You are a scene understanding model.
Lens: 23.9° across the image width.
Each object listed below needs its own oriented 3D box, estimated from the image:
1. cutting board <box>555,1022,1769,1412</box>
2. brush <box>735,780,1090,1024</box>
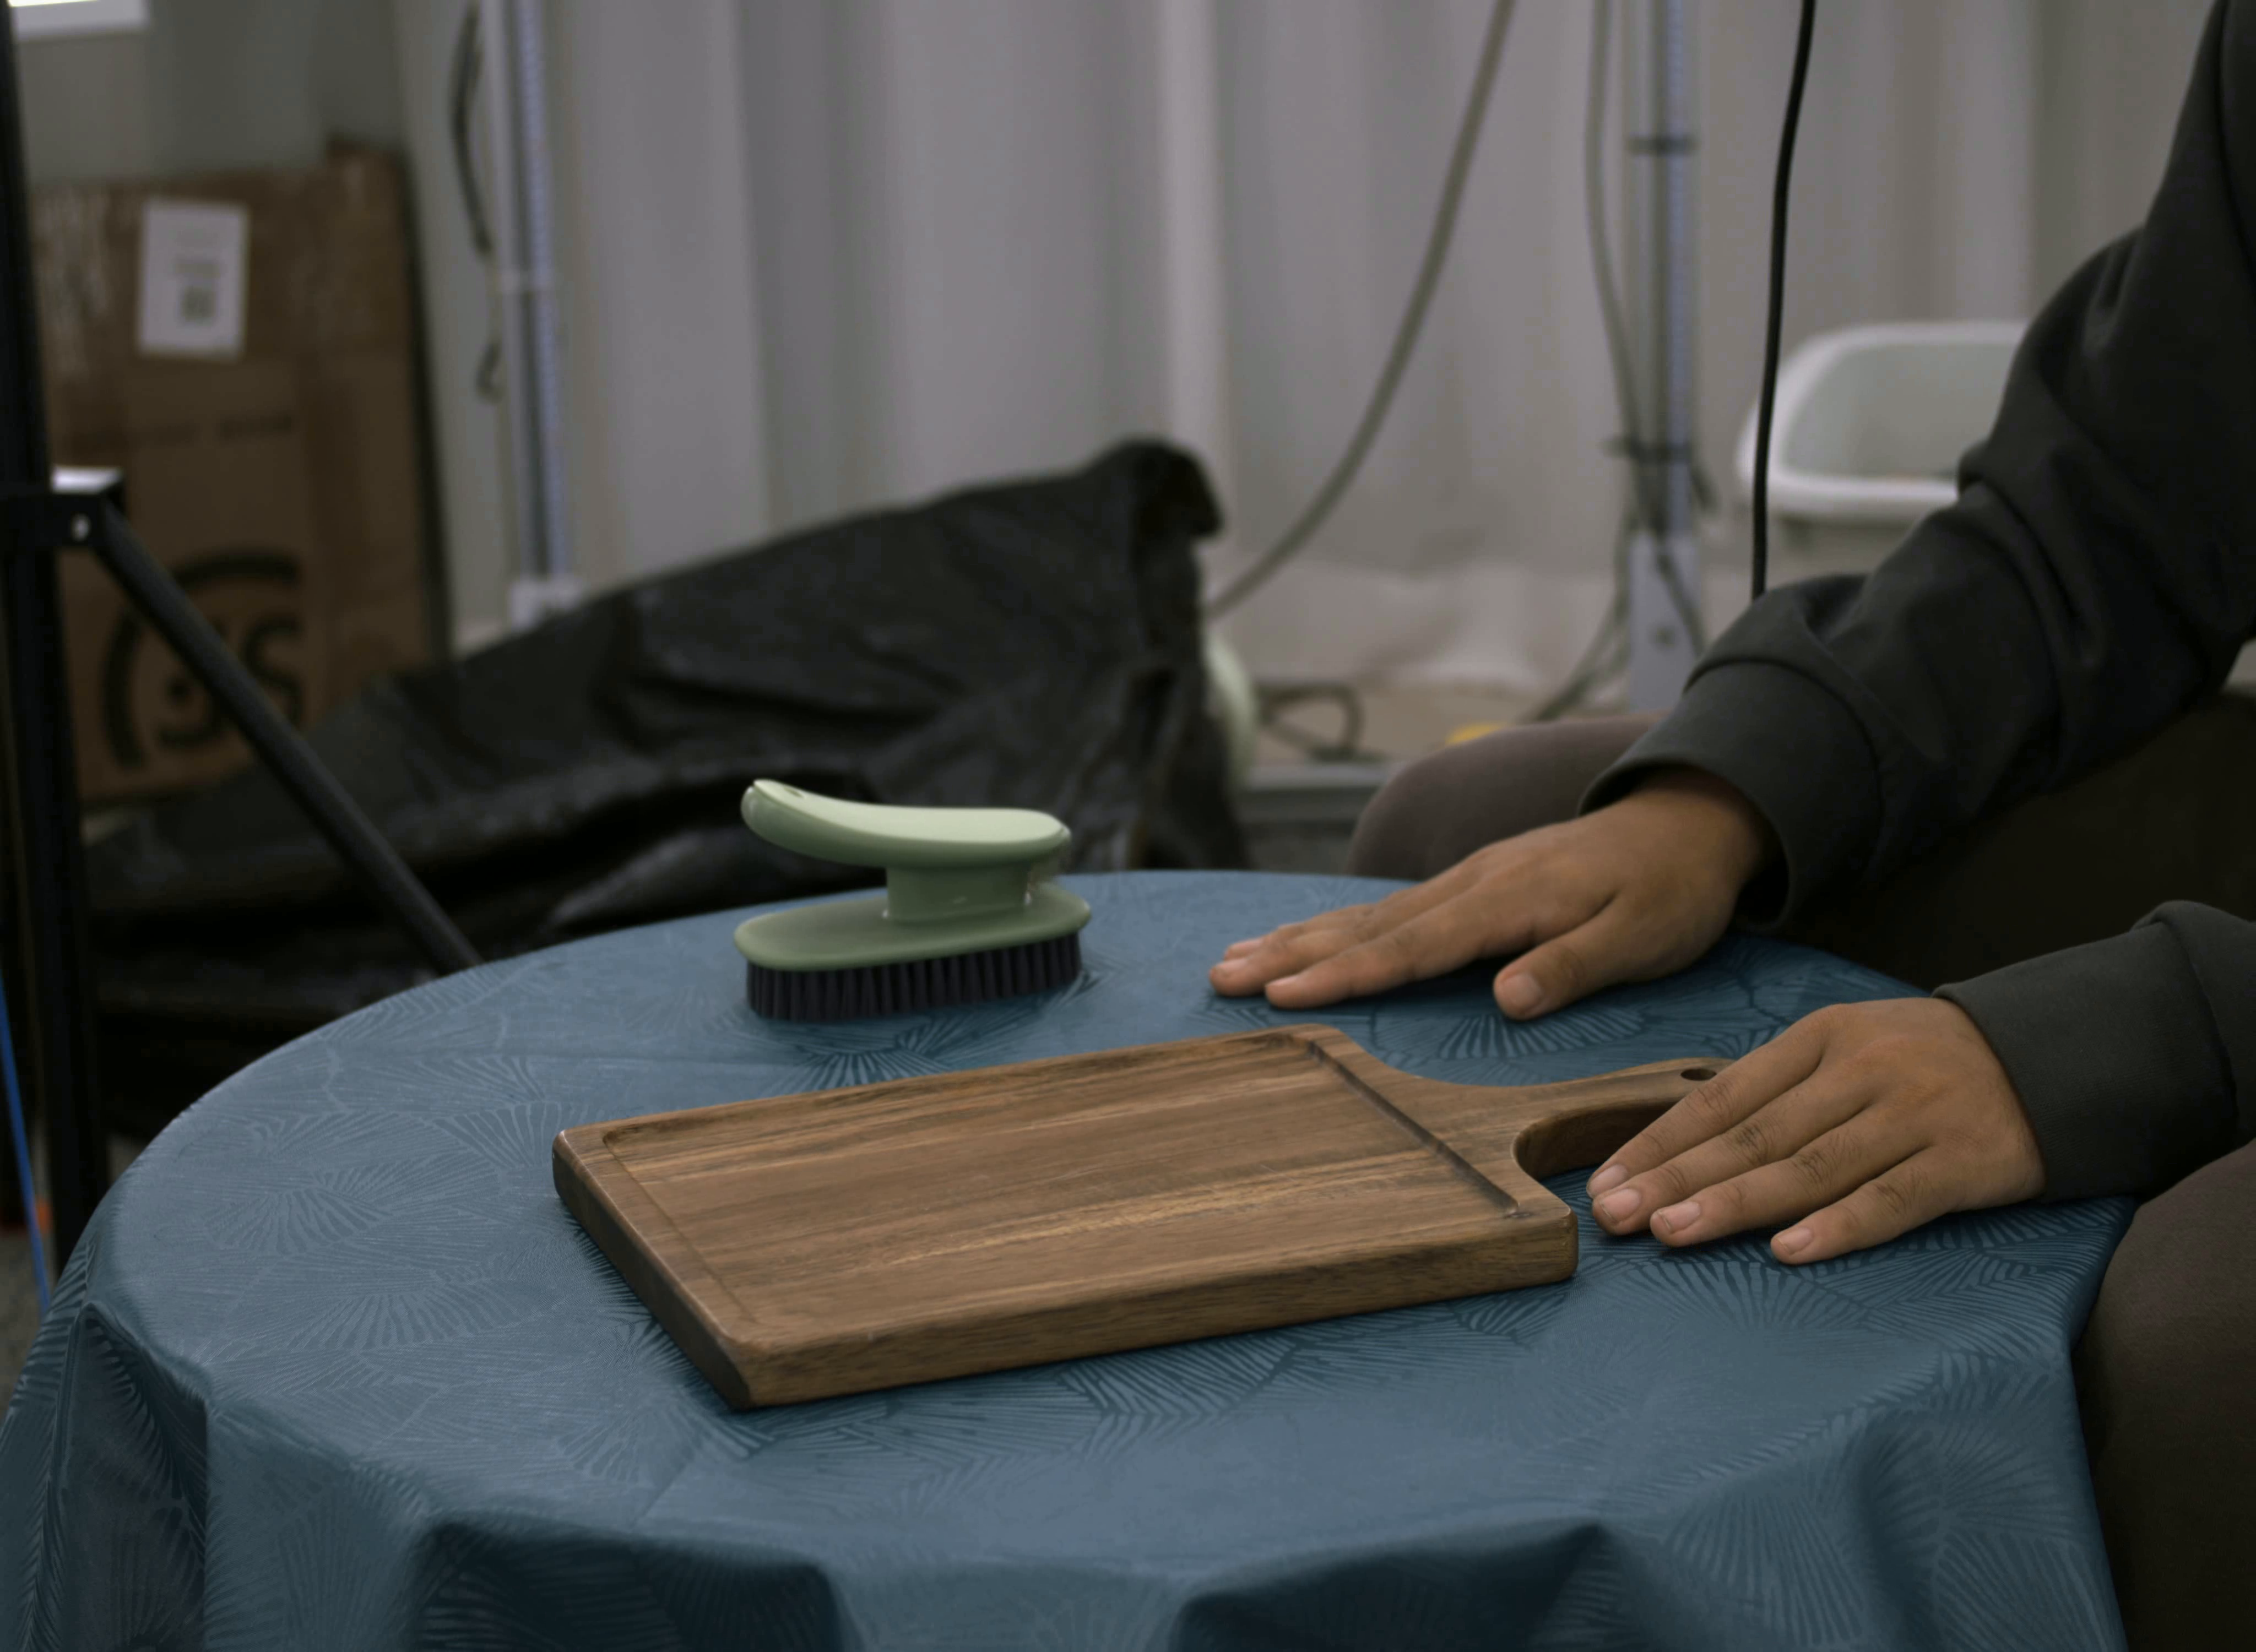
[{"bbox_3d":[0.026,0.102,1.535,0.346,0.023,0.204,-7,17,-17],"label":"cutting board"},{"bbox_3d":[-0.072,0.029,1.752,0.120,0.076,0.060,7,11,-22],"label":"brush"}]
